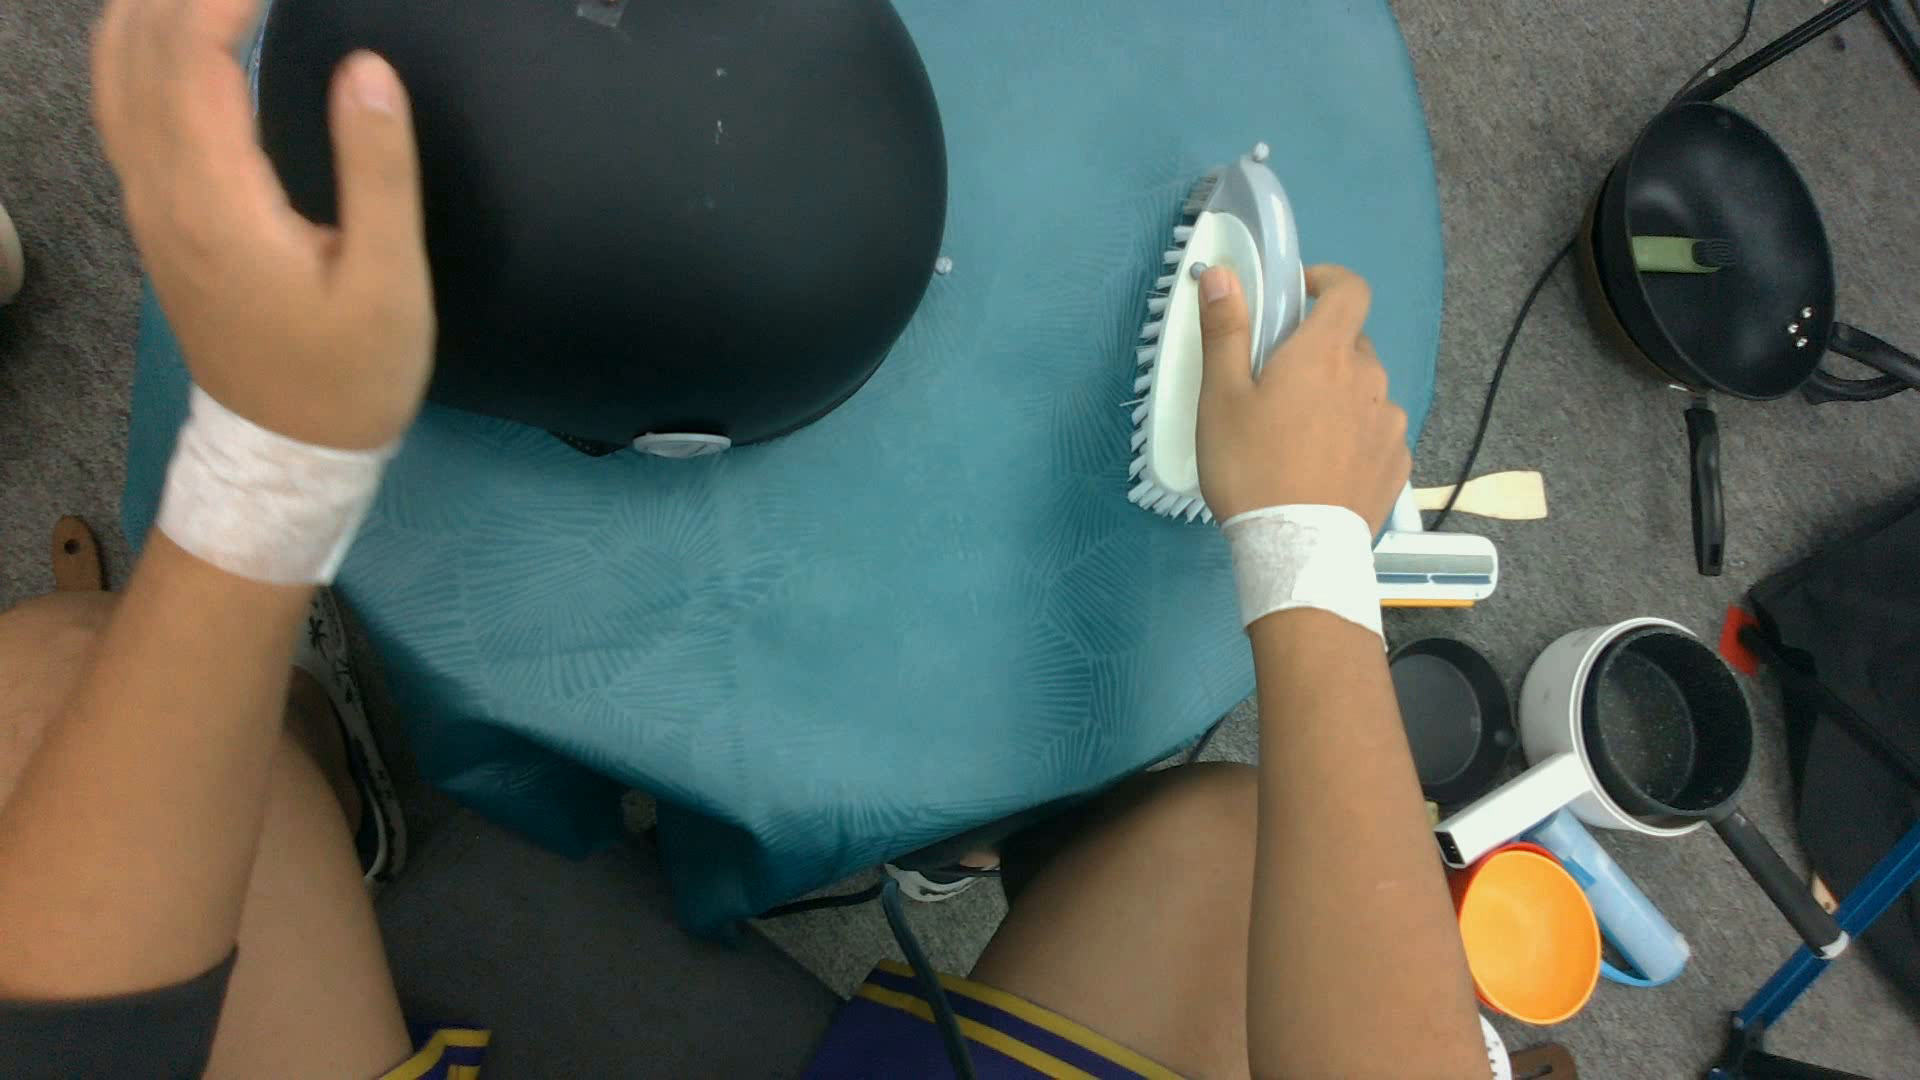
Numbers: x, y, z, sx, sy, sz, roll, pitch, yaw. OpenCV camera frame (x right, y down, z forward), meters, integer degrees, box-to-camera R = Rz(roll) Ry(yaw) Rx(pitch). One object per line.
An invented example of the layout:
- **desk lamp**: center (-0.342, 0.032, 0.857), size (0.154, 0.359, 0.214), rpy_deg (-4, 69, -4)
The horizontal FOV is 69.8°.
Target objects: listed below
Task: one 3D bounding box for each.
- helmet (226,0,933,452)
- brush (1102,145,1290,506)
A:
- **helmet**: center (-0.127, -0.158, 0.515), size (0.273, 0.166, 0.230), rpy_deg (12, 79, -19)
- **brush**: center (0.115, -0.109, 0.627), size (0.061, 0.094, 0.176), rpy_deg (15, 74, -18)
